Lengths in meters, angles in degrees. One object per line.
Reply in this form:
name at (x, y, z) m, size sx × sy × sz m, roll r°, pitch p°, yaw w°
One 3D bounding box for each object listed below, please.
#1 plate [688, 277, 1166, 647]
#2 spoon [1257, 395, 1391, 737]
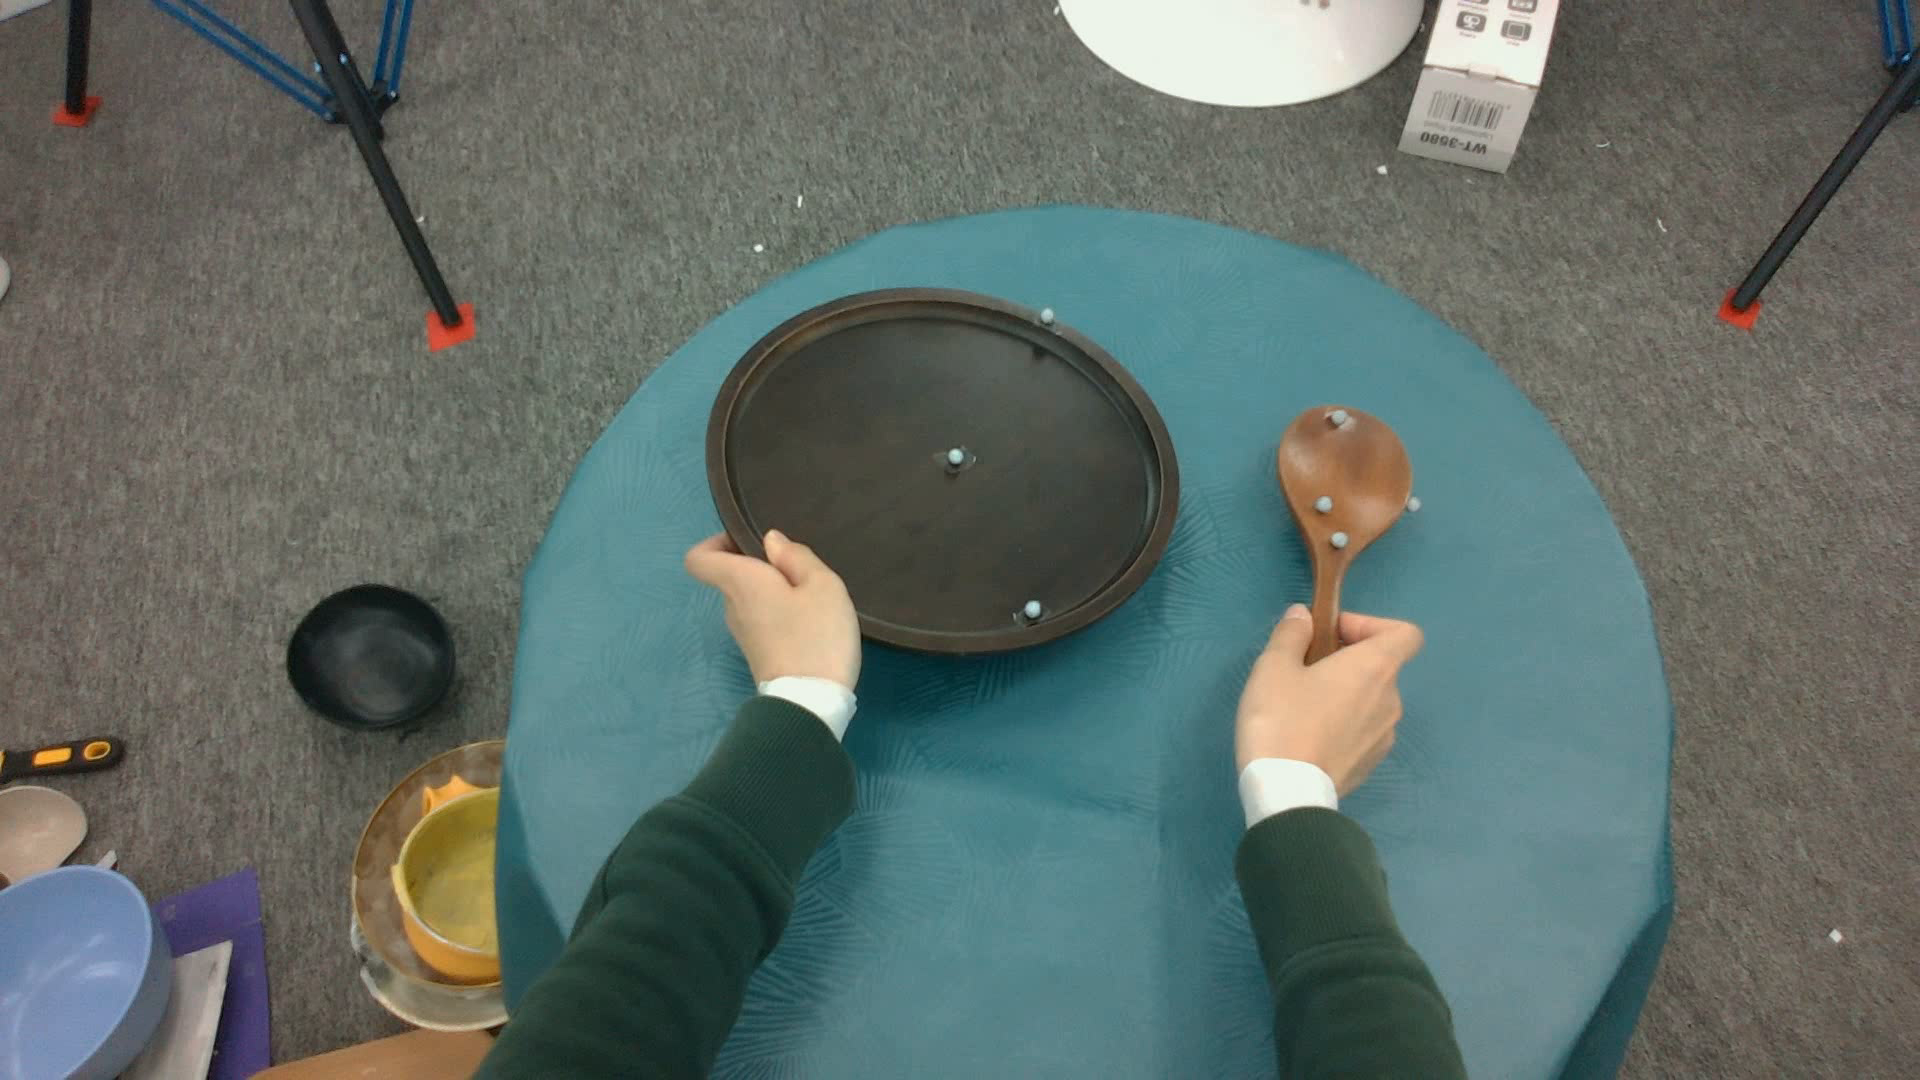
plate at (-0.016, -0.048, 0.735) m, size 0.255 × 0.029 × 0.256 m, roll 5°, pitch 50°, yaw -6°
spoon at (0.182, 0.007, 0.709) m, size 0.075 × 0.017 × 0.217 m, roll 16°, pitch 53°, yaw 0°
